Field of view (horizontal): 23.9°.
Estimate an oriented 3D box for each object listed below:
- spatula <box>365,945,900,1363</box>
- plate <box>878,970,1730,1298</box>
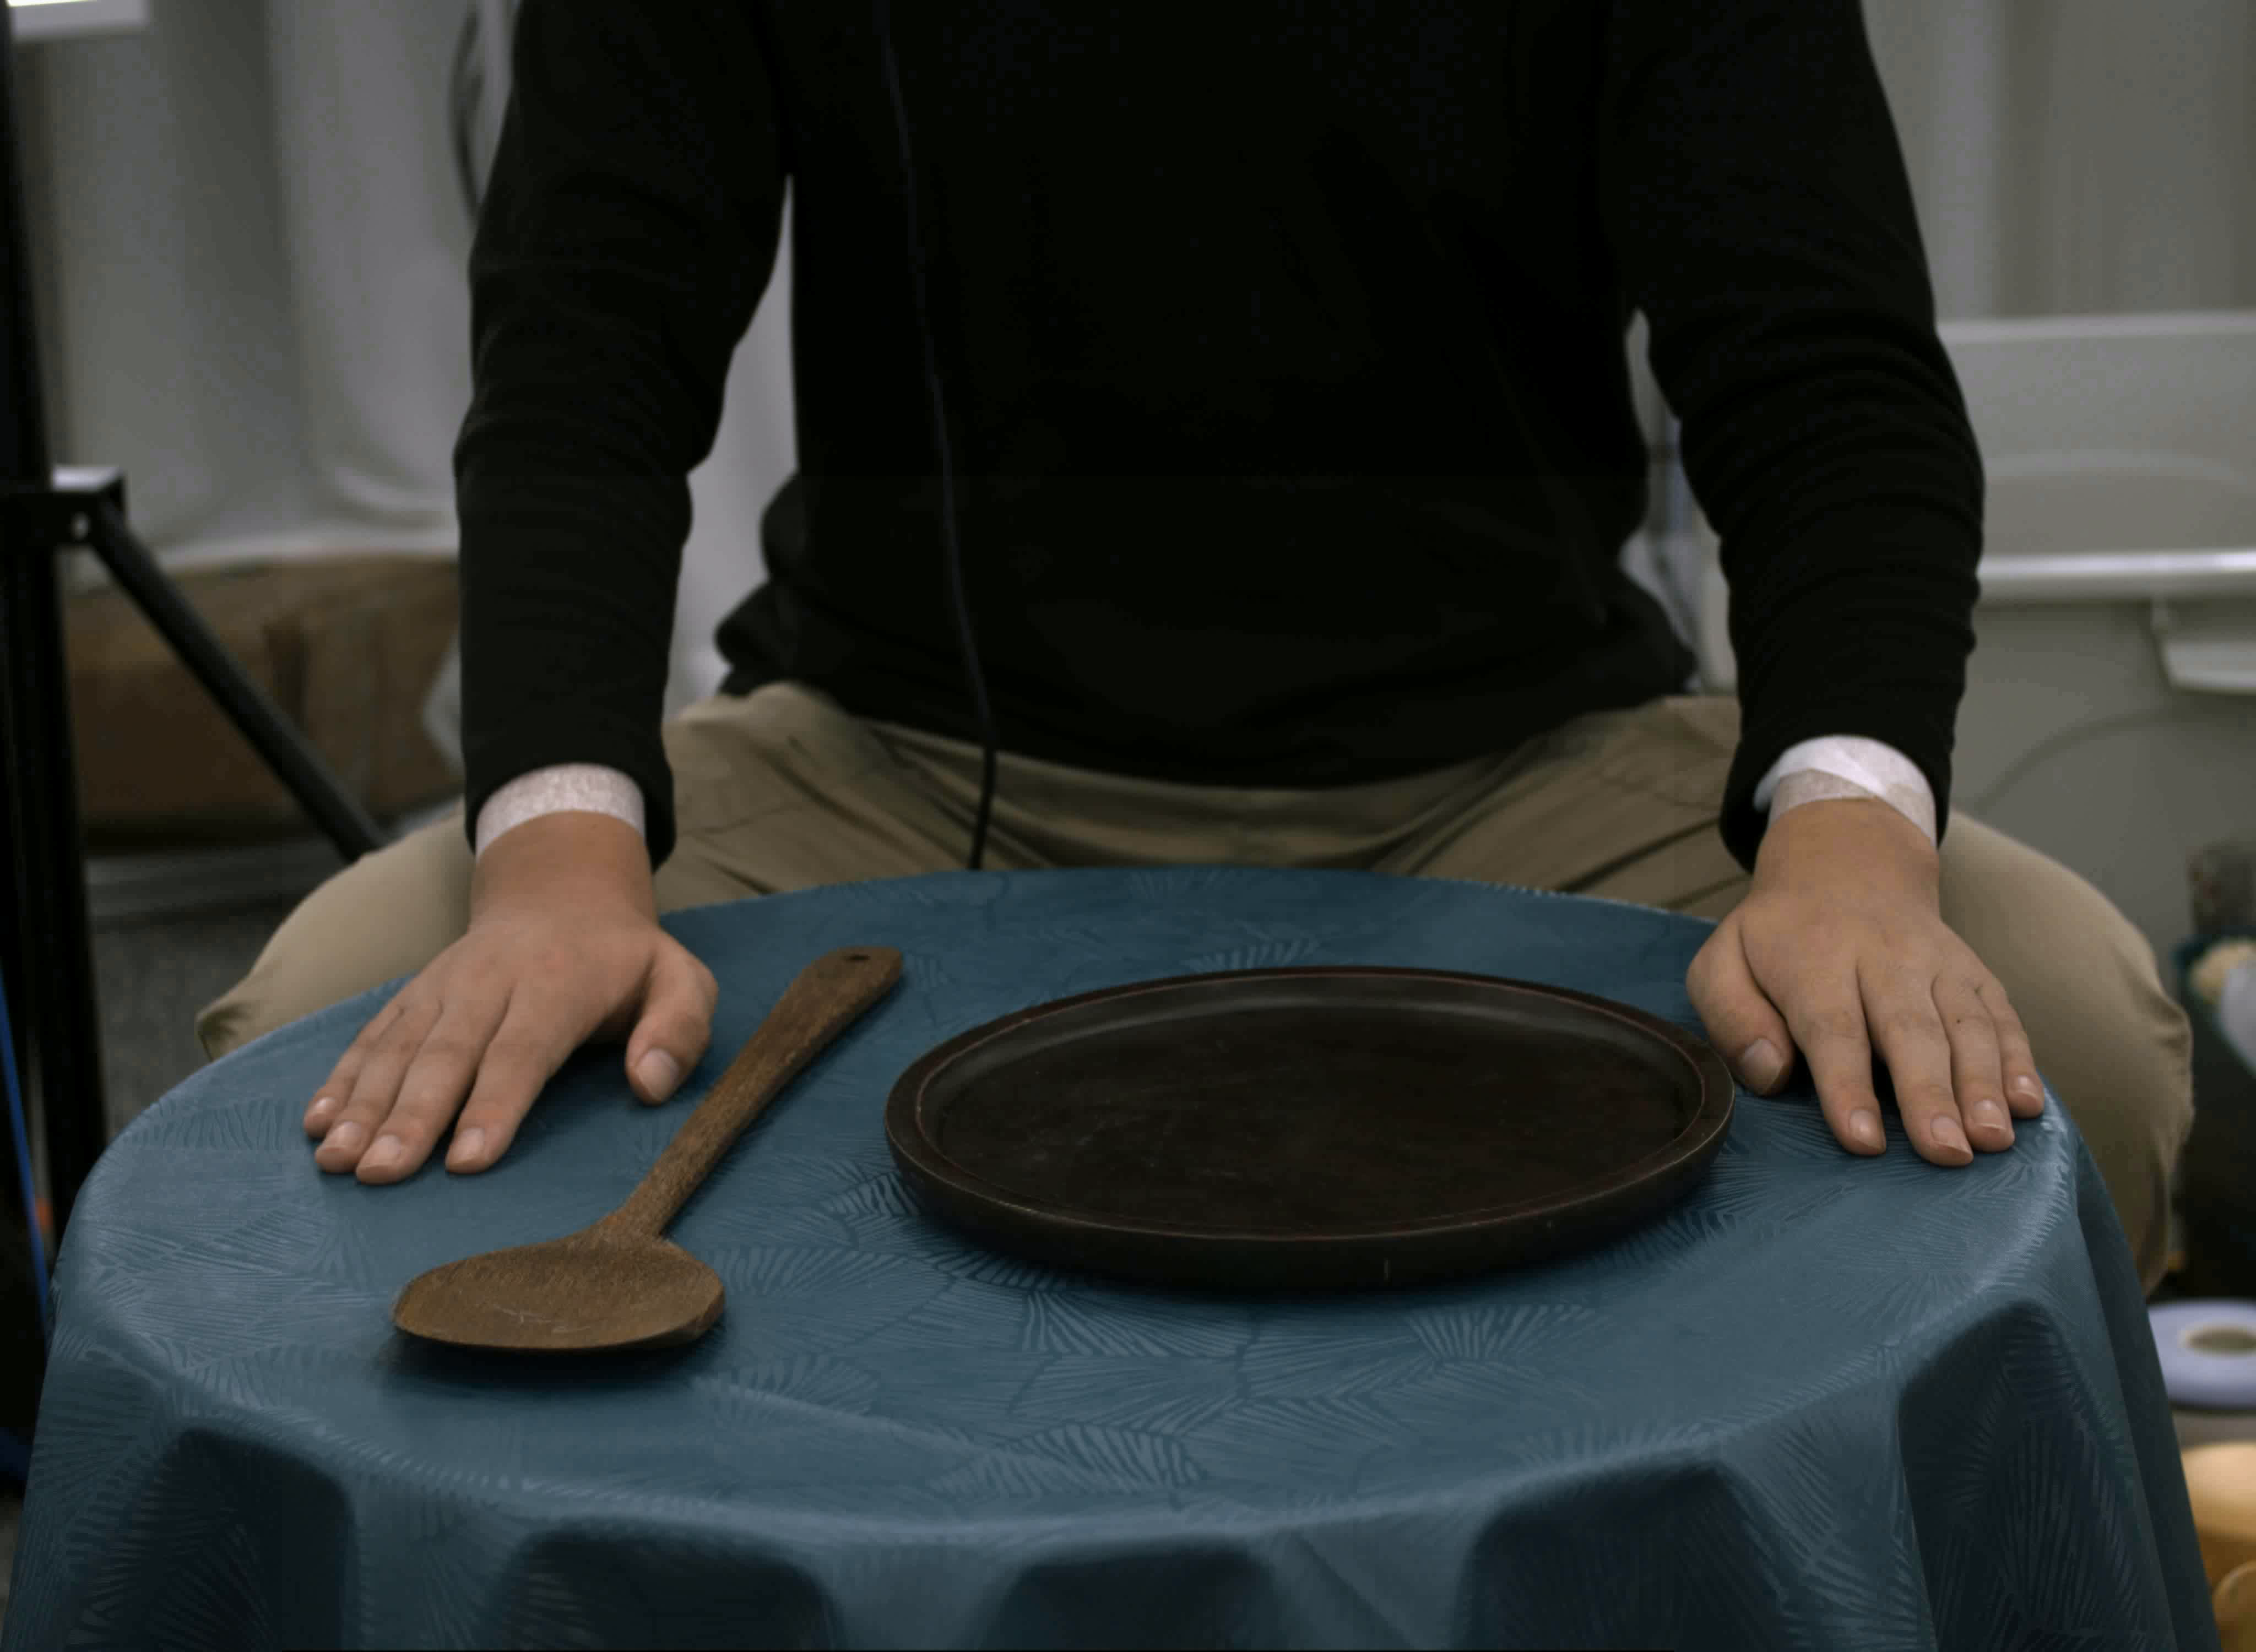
[{"bbox_3d":[-0.127,0.092,1.608,0.096,0.016,0.383,2,16,12],"label":"spatula"},{"bbox_3d":[0.053,0.089,1.573,0.253,0.029,0.256,-4,15,0],"label":"plate"}]
